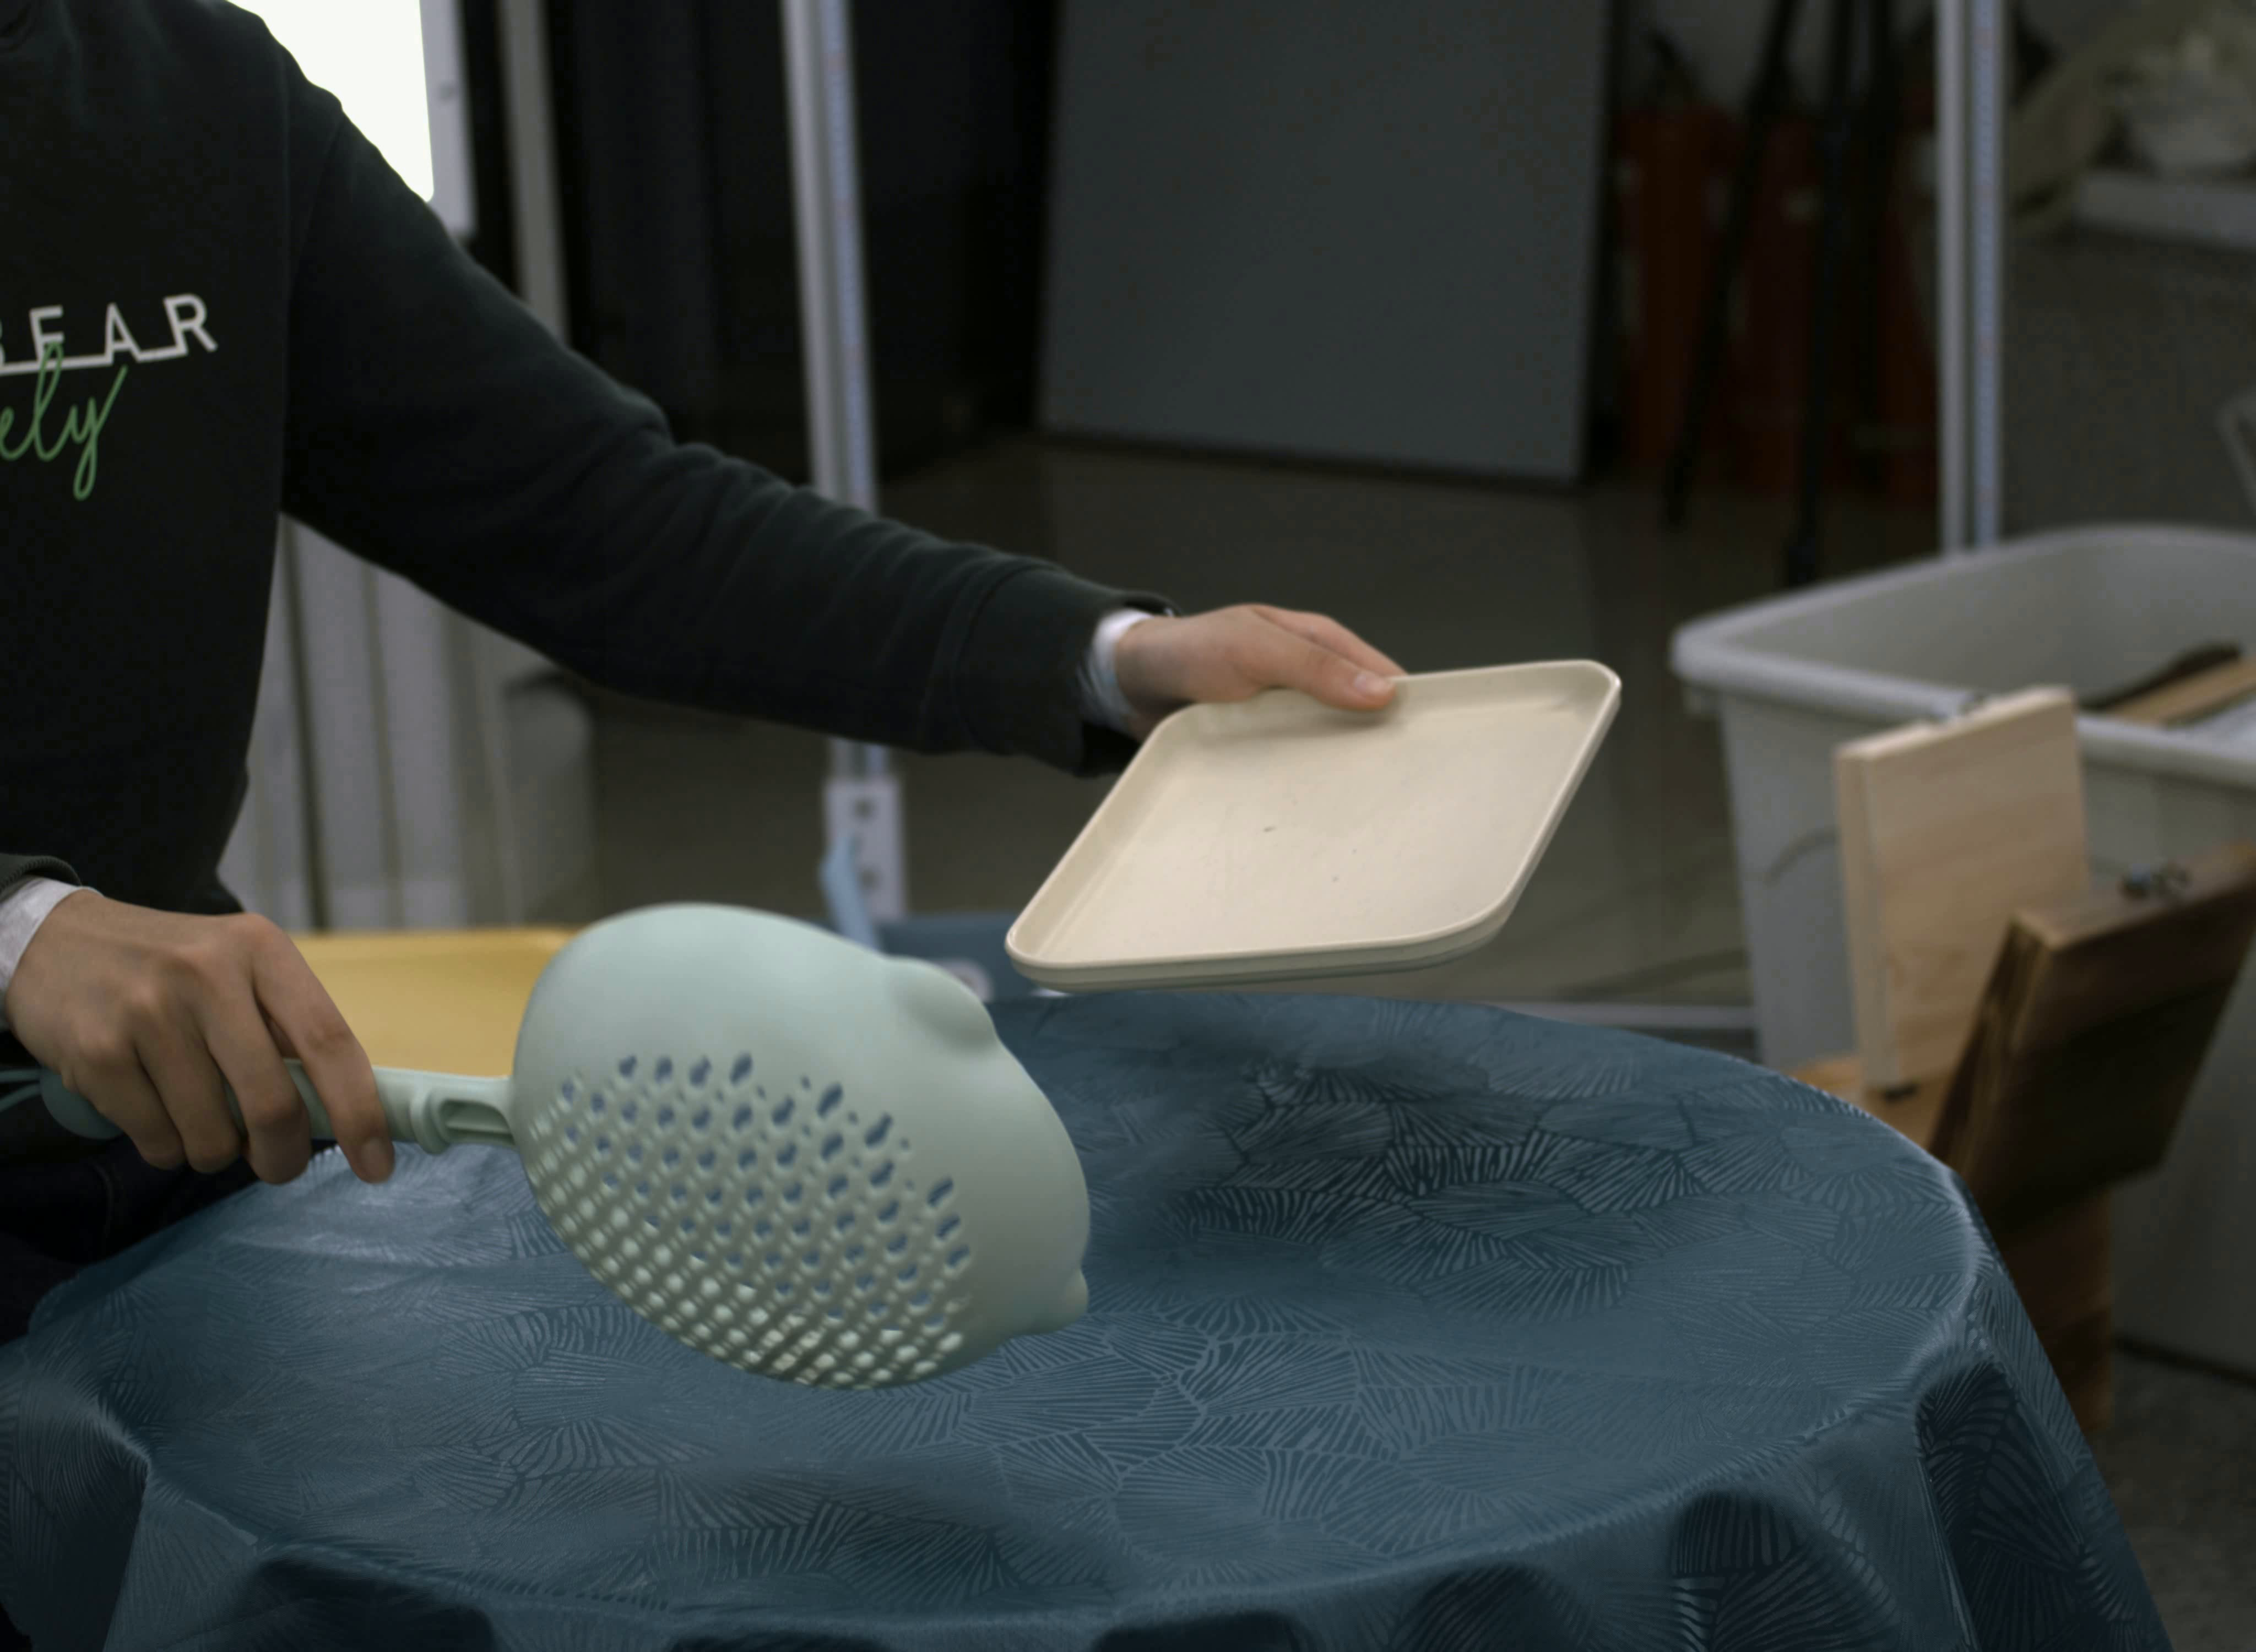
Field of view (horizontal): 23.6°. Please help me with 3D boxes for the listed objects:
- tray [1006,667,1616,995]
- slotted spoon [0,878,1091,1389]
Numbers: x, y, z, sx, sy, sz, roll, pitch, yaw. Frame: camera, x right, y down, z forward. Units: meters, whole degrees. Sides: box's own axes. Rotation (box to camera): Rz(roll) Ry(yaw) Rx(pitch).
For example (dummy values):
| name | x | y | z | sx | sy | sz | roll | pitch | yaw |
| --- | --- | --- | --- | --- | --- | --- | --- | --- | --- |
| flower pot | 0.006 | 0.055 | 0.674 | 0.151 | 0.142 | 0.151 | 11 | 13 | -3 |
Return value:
| name | x | y | z | sx | sy | sz | roll | pitch | yaw |
| --- | --- | --- | --- | --- | --- | --- | --- | --- | --- |
| tray | 0.065 | 0.001 | 1.785 | 0.171 | 0.017 | 0.238 | -6 | 20 | 20 |
| slotted spoon | -0.180 | 0.084 | 1.507 | 0.360 | 0.169 | 0.075 | 8 | 42 | 32 |
